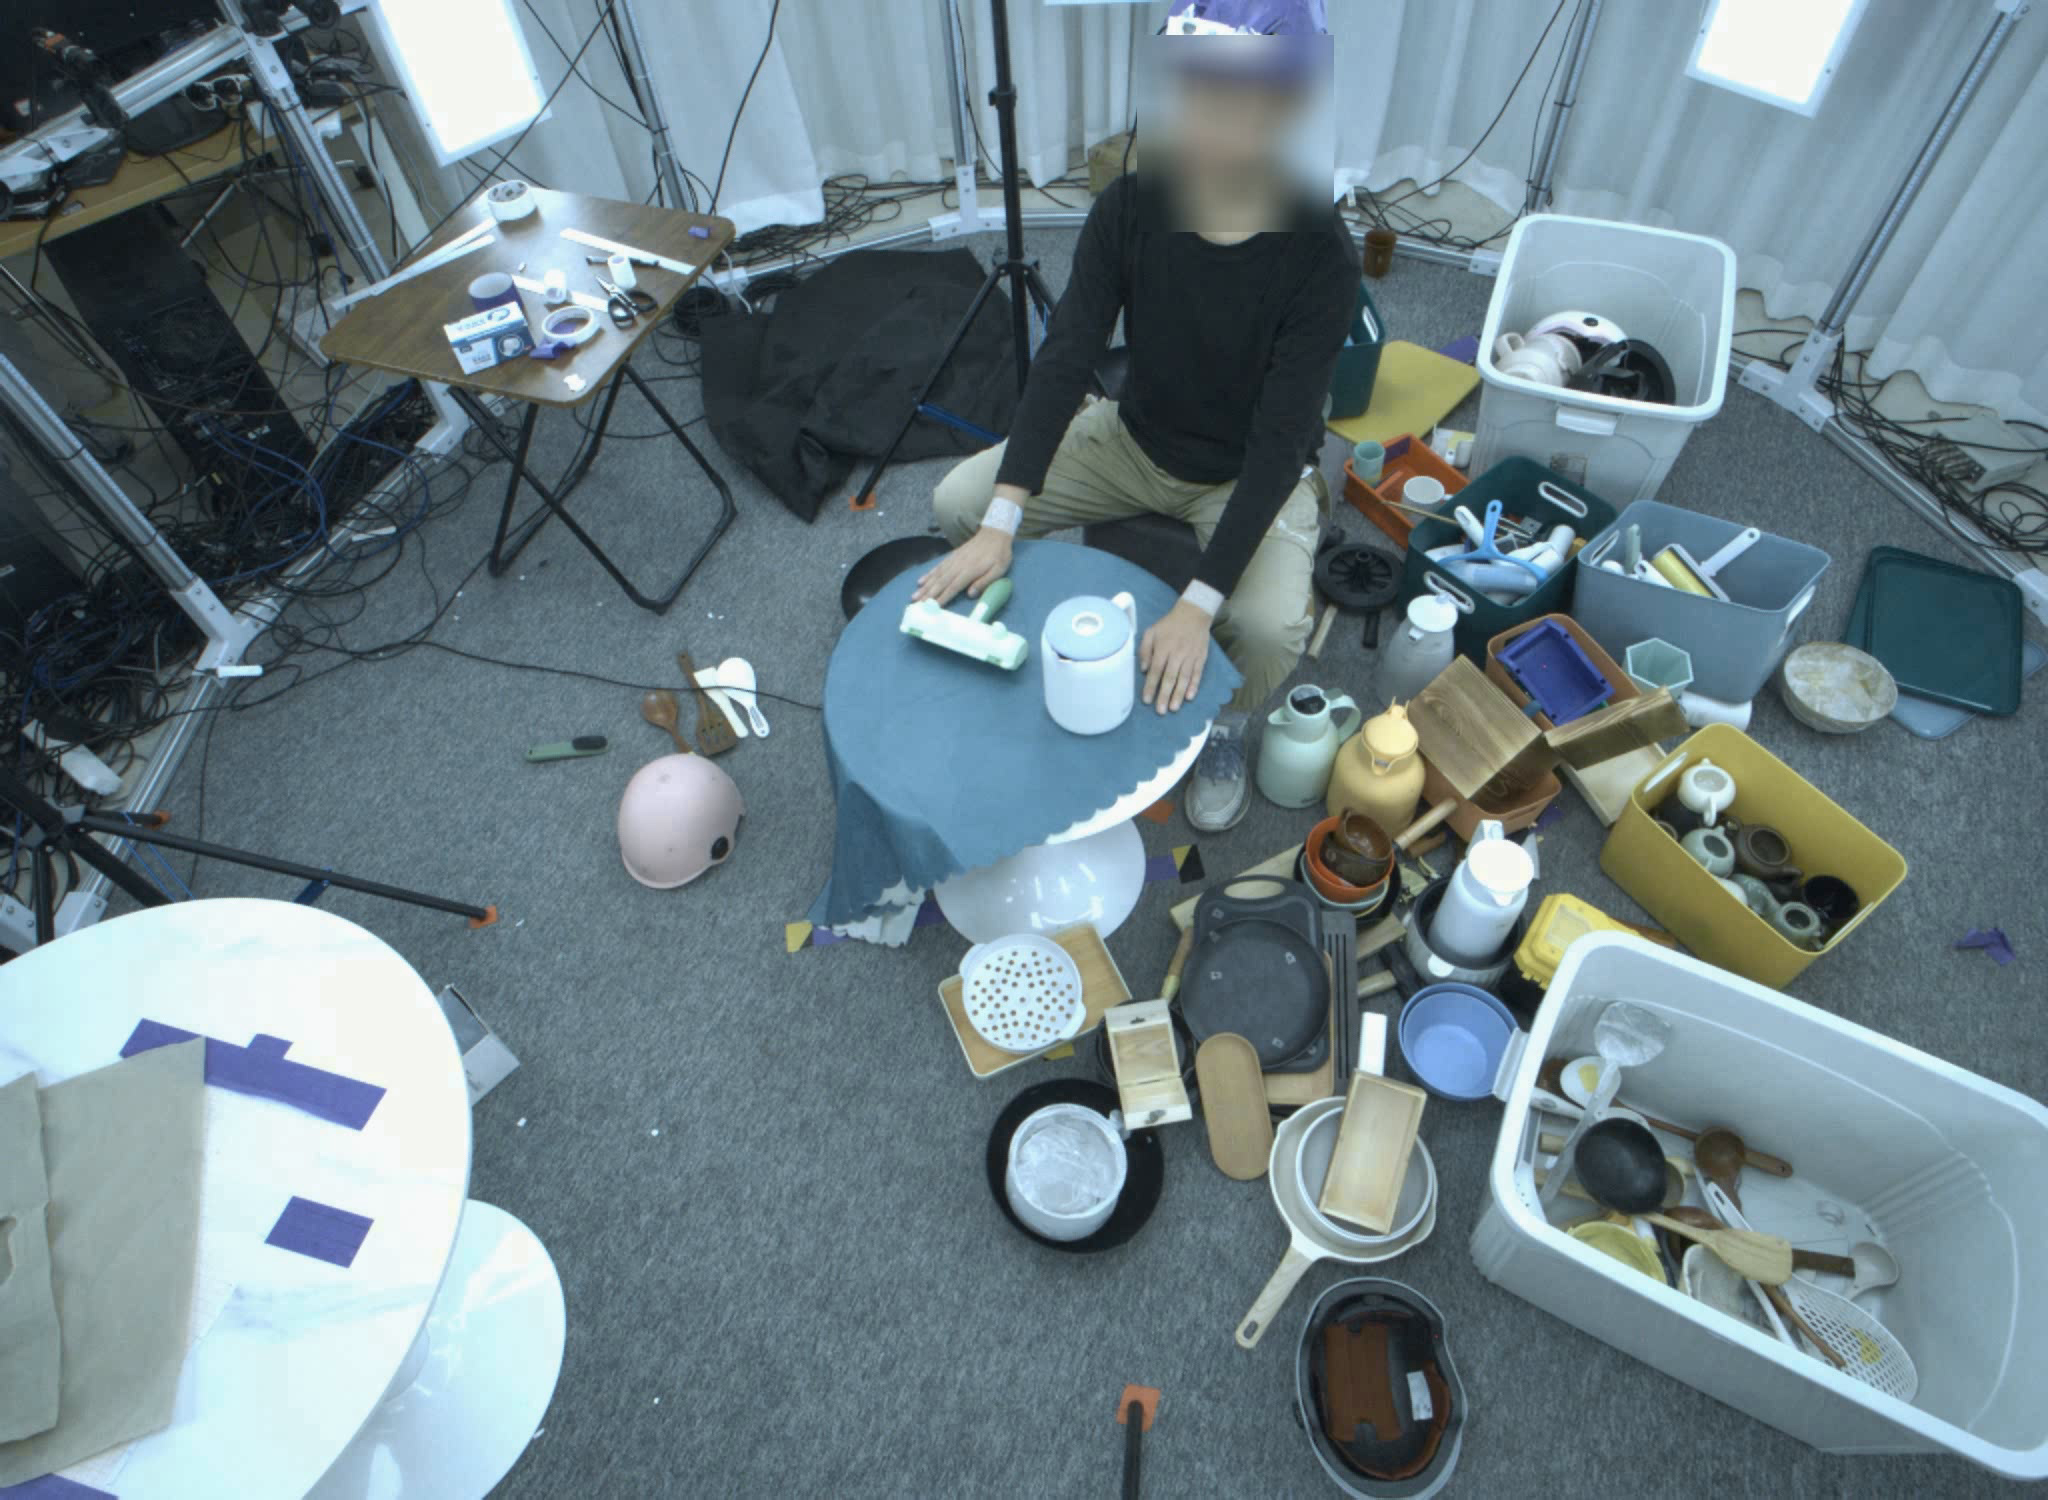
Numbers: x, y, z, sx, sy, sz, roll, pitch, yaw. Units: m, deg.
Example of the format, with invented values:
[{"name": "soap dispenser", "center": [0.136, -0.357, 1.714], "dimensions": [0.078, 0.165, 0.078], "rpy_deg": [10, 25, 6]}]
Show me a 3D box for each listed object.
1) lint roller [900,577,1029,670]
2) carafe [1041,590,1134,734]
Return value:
[{"name": "lint roller", "center": [-0.067, -0.221, 1.899], "dimensions": [0.196, 0.083, 0.183], "rpy_deg": [21, 61, 15]}, {"name": "carafe", "center": [0.105, -0.138, 1.776], "dimensions": [0.130, 0.184, 0.192], "rpy_deg": [27, 58, 20]}]
